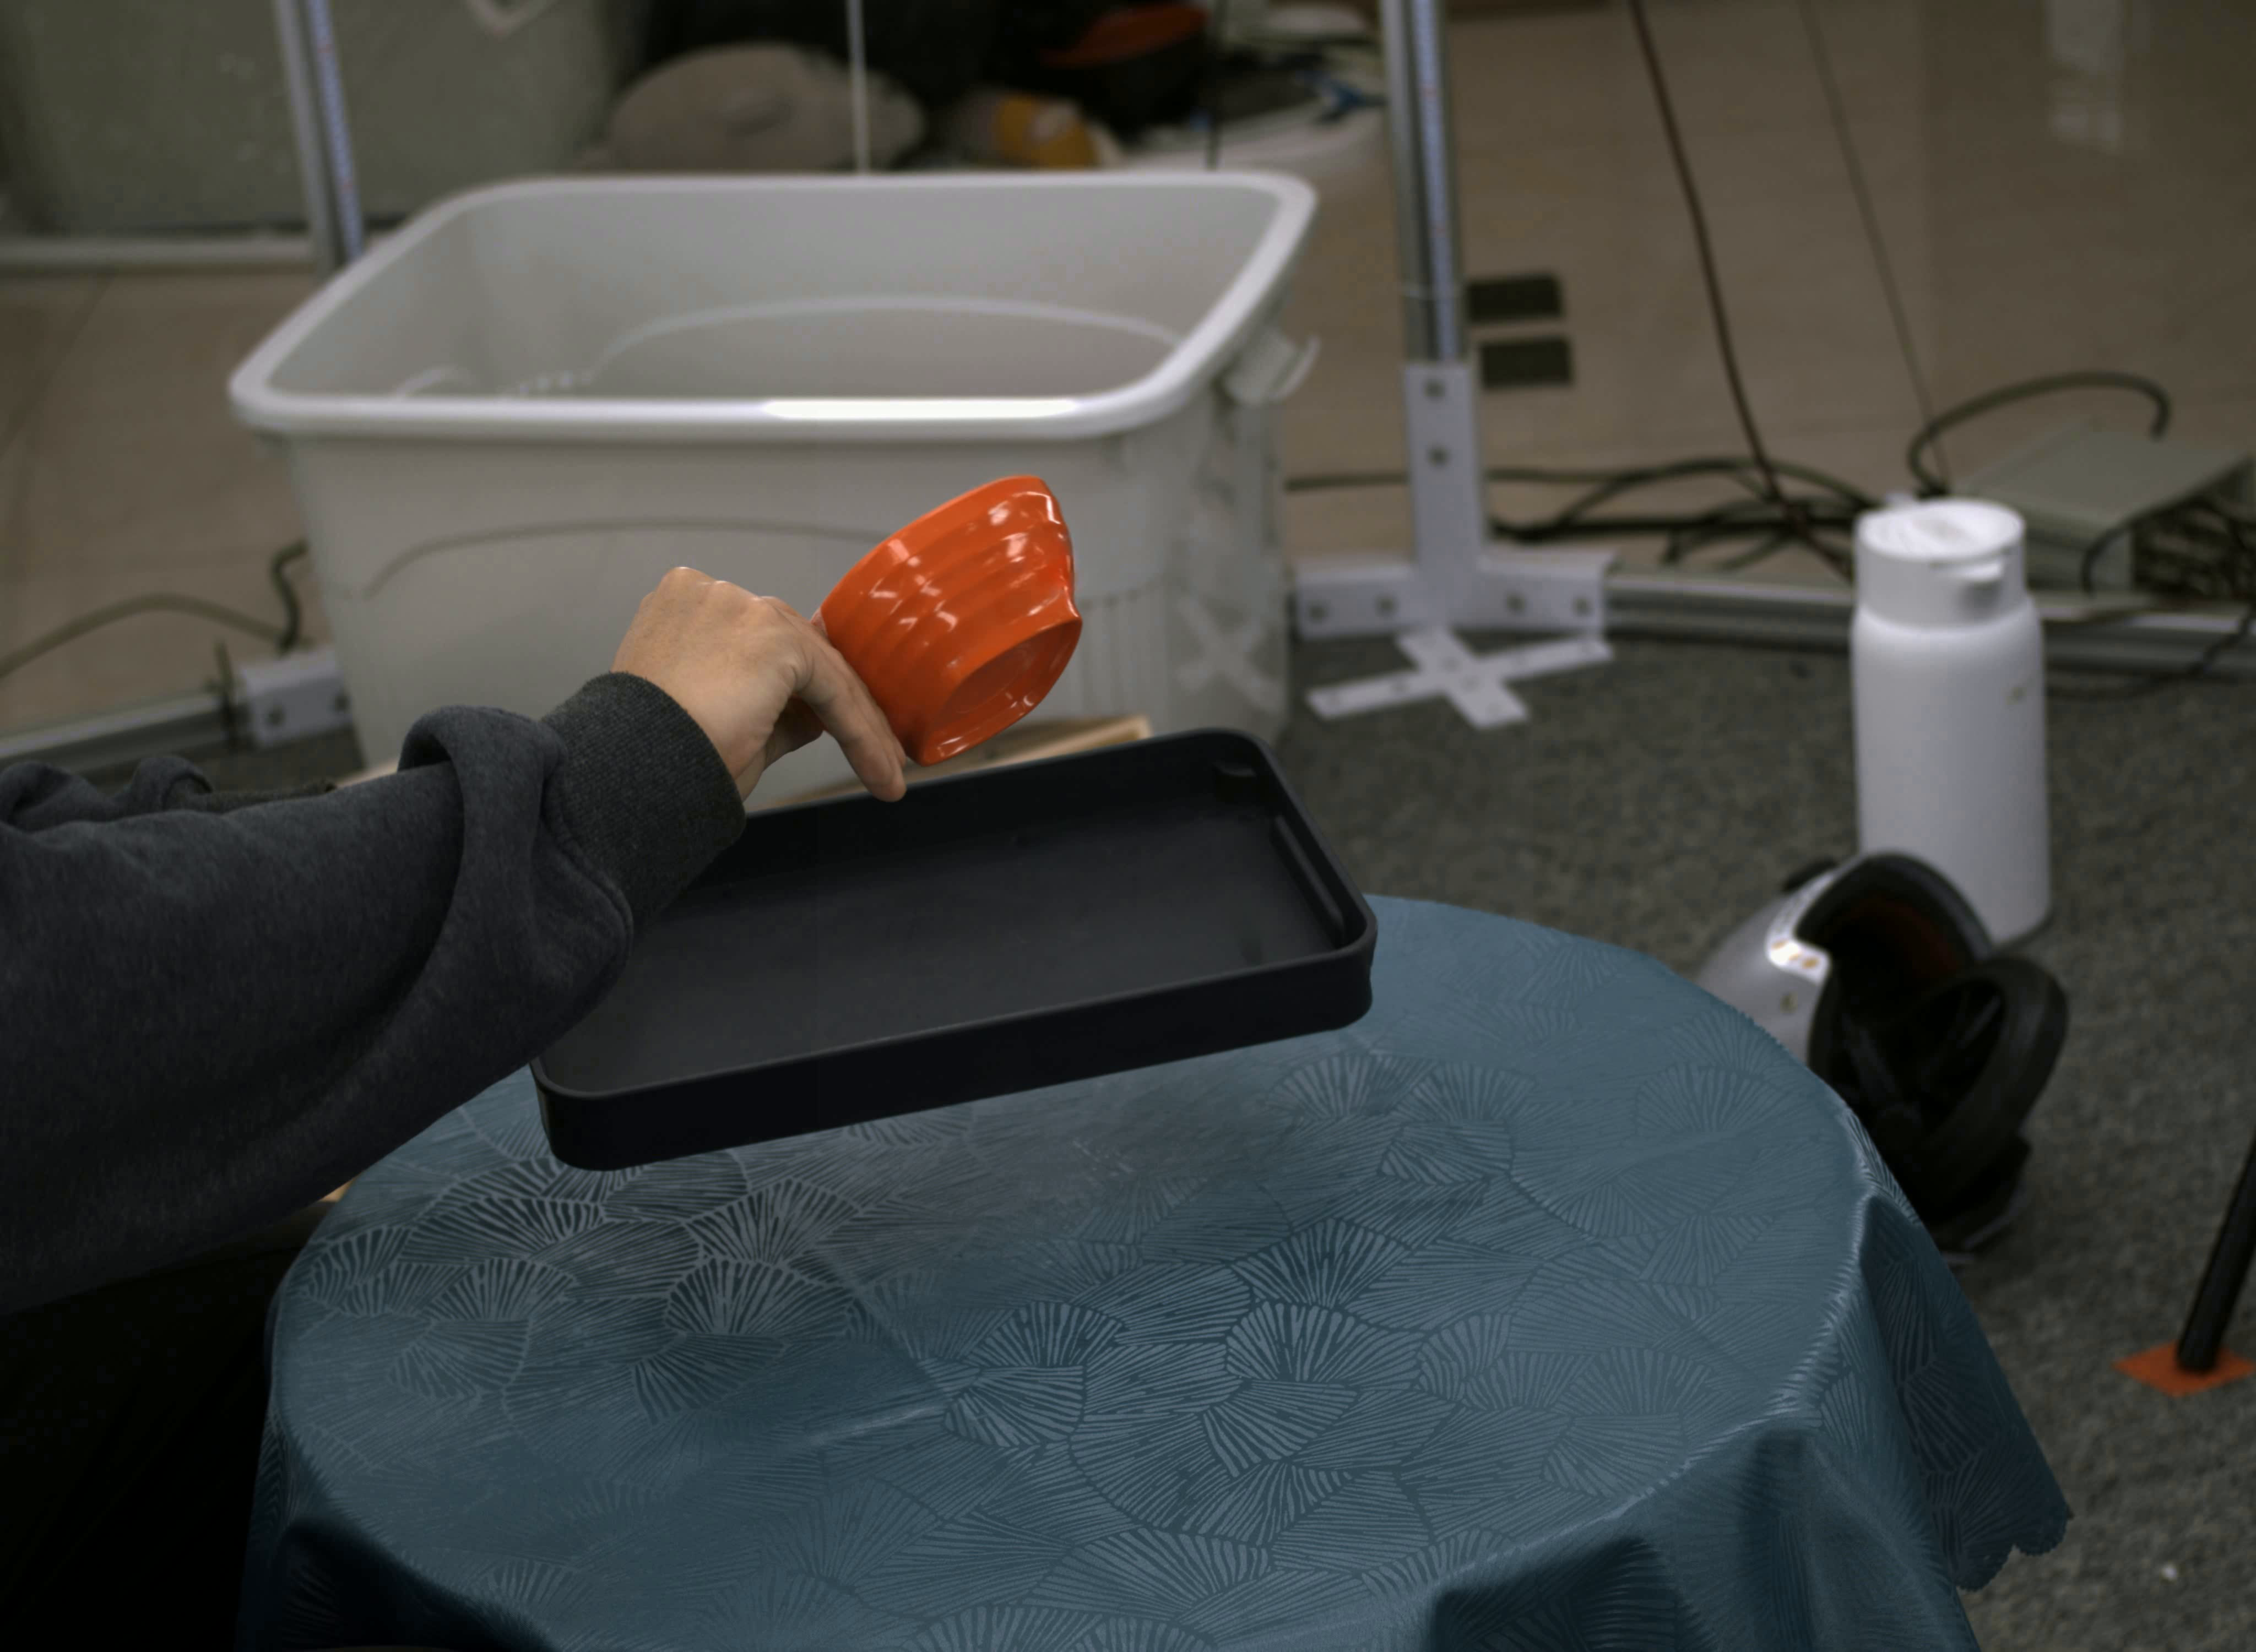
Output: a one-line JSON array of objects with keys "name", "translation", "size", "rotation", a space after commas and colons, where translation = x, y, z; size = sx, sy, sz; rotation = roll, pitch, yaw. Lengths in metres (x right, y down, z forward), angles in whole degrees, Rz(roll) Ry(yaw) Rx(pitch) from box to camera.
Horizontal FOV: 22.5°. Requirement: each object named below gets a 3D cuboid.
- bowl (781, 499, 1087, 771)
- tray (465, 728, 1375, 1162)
[{"name": "bowl", "translation": [-0.059, -0.060, 1.955], "size": [0.118, 0.051, 0.120], "rotation": [-29, -11, -6]}, {"name": "tray", "translation": [-0.080, 0.041, 2.129], "size": [0.317, 0.038, 0.181], "rotation": [-10, 31, -12]}]
